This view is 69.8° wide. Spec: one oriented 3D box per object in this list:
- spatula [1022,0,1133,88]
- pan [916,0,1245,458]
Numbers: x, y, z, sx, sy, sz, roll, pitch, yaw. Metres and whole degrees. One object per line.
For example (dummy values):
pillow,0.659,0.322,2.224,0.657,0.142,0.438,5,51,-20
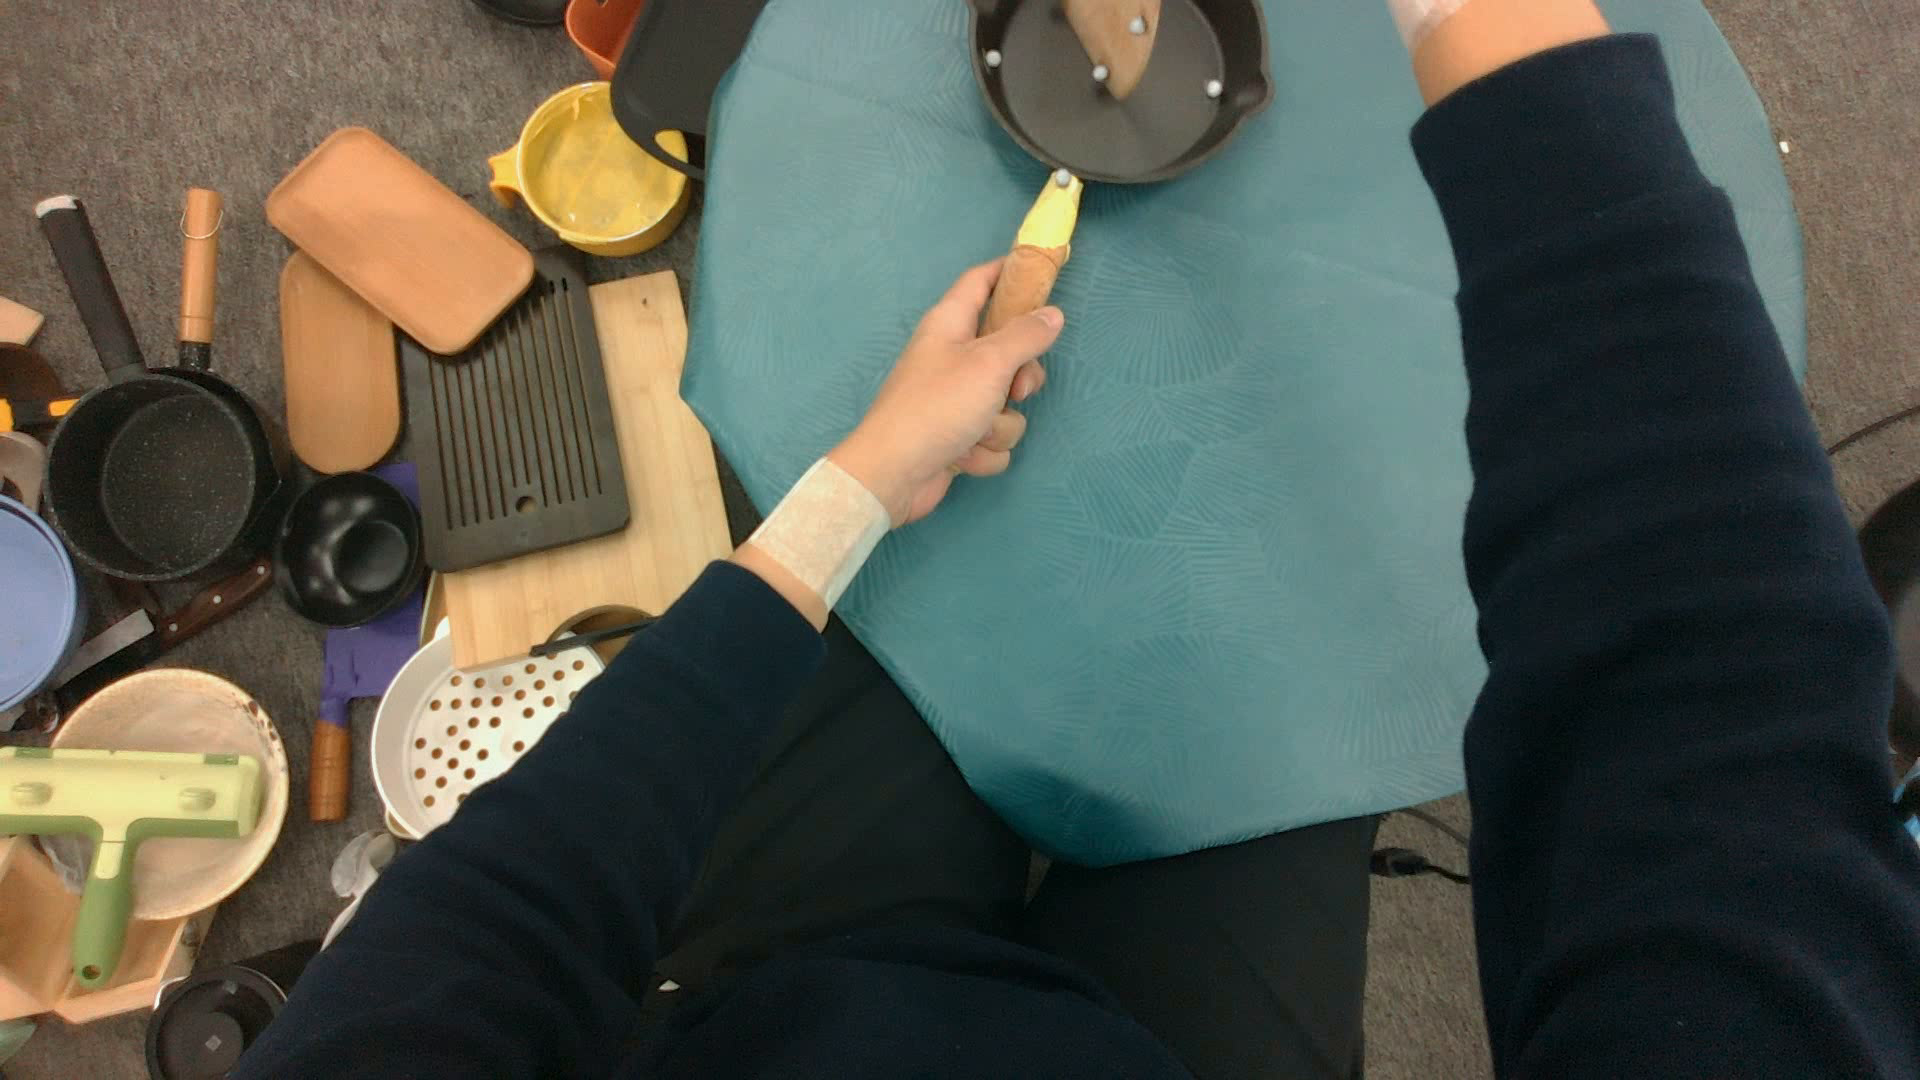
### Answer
spatula,0.067,-0.273,0.594,0.016,0.327,0.080,-37,93,-2
pan,0.039,-0.188,0.710,0.169,0.049,0.325,21,77,1
